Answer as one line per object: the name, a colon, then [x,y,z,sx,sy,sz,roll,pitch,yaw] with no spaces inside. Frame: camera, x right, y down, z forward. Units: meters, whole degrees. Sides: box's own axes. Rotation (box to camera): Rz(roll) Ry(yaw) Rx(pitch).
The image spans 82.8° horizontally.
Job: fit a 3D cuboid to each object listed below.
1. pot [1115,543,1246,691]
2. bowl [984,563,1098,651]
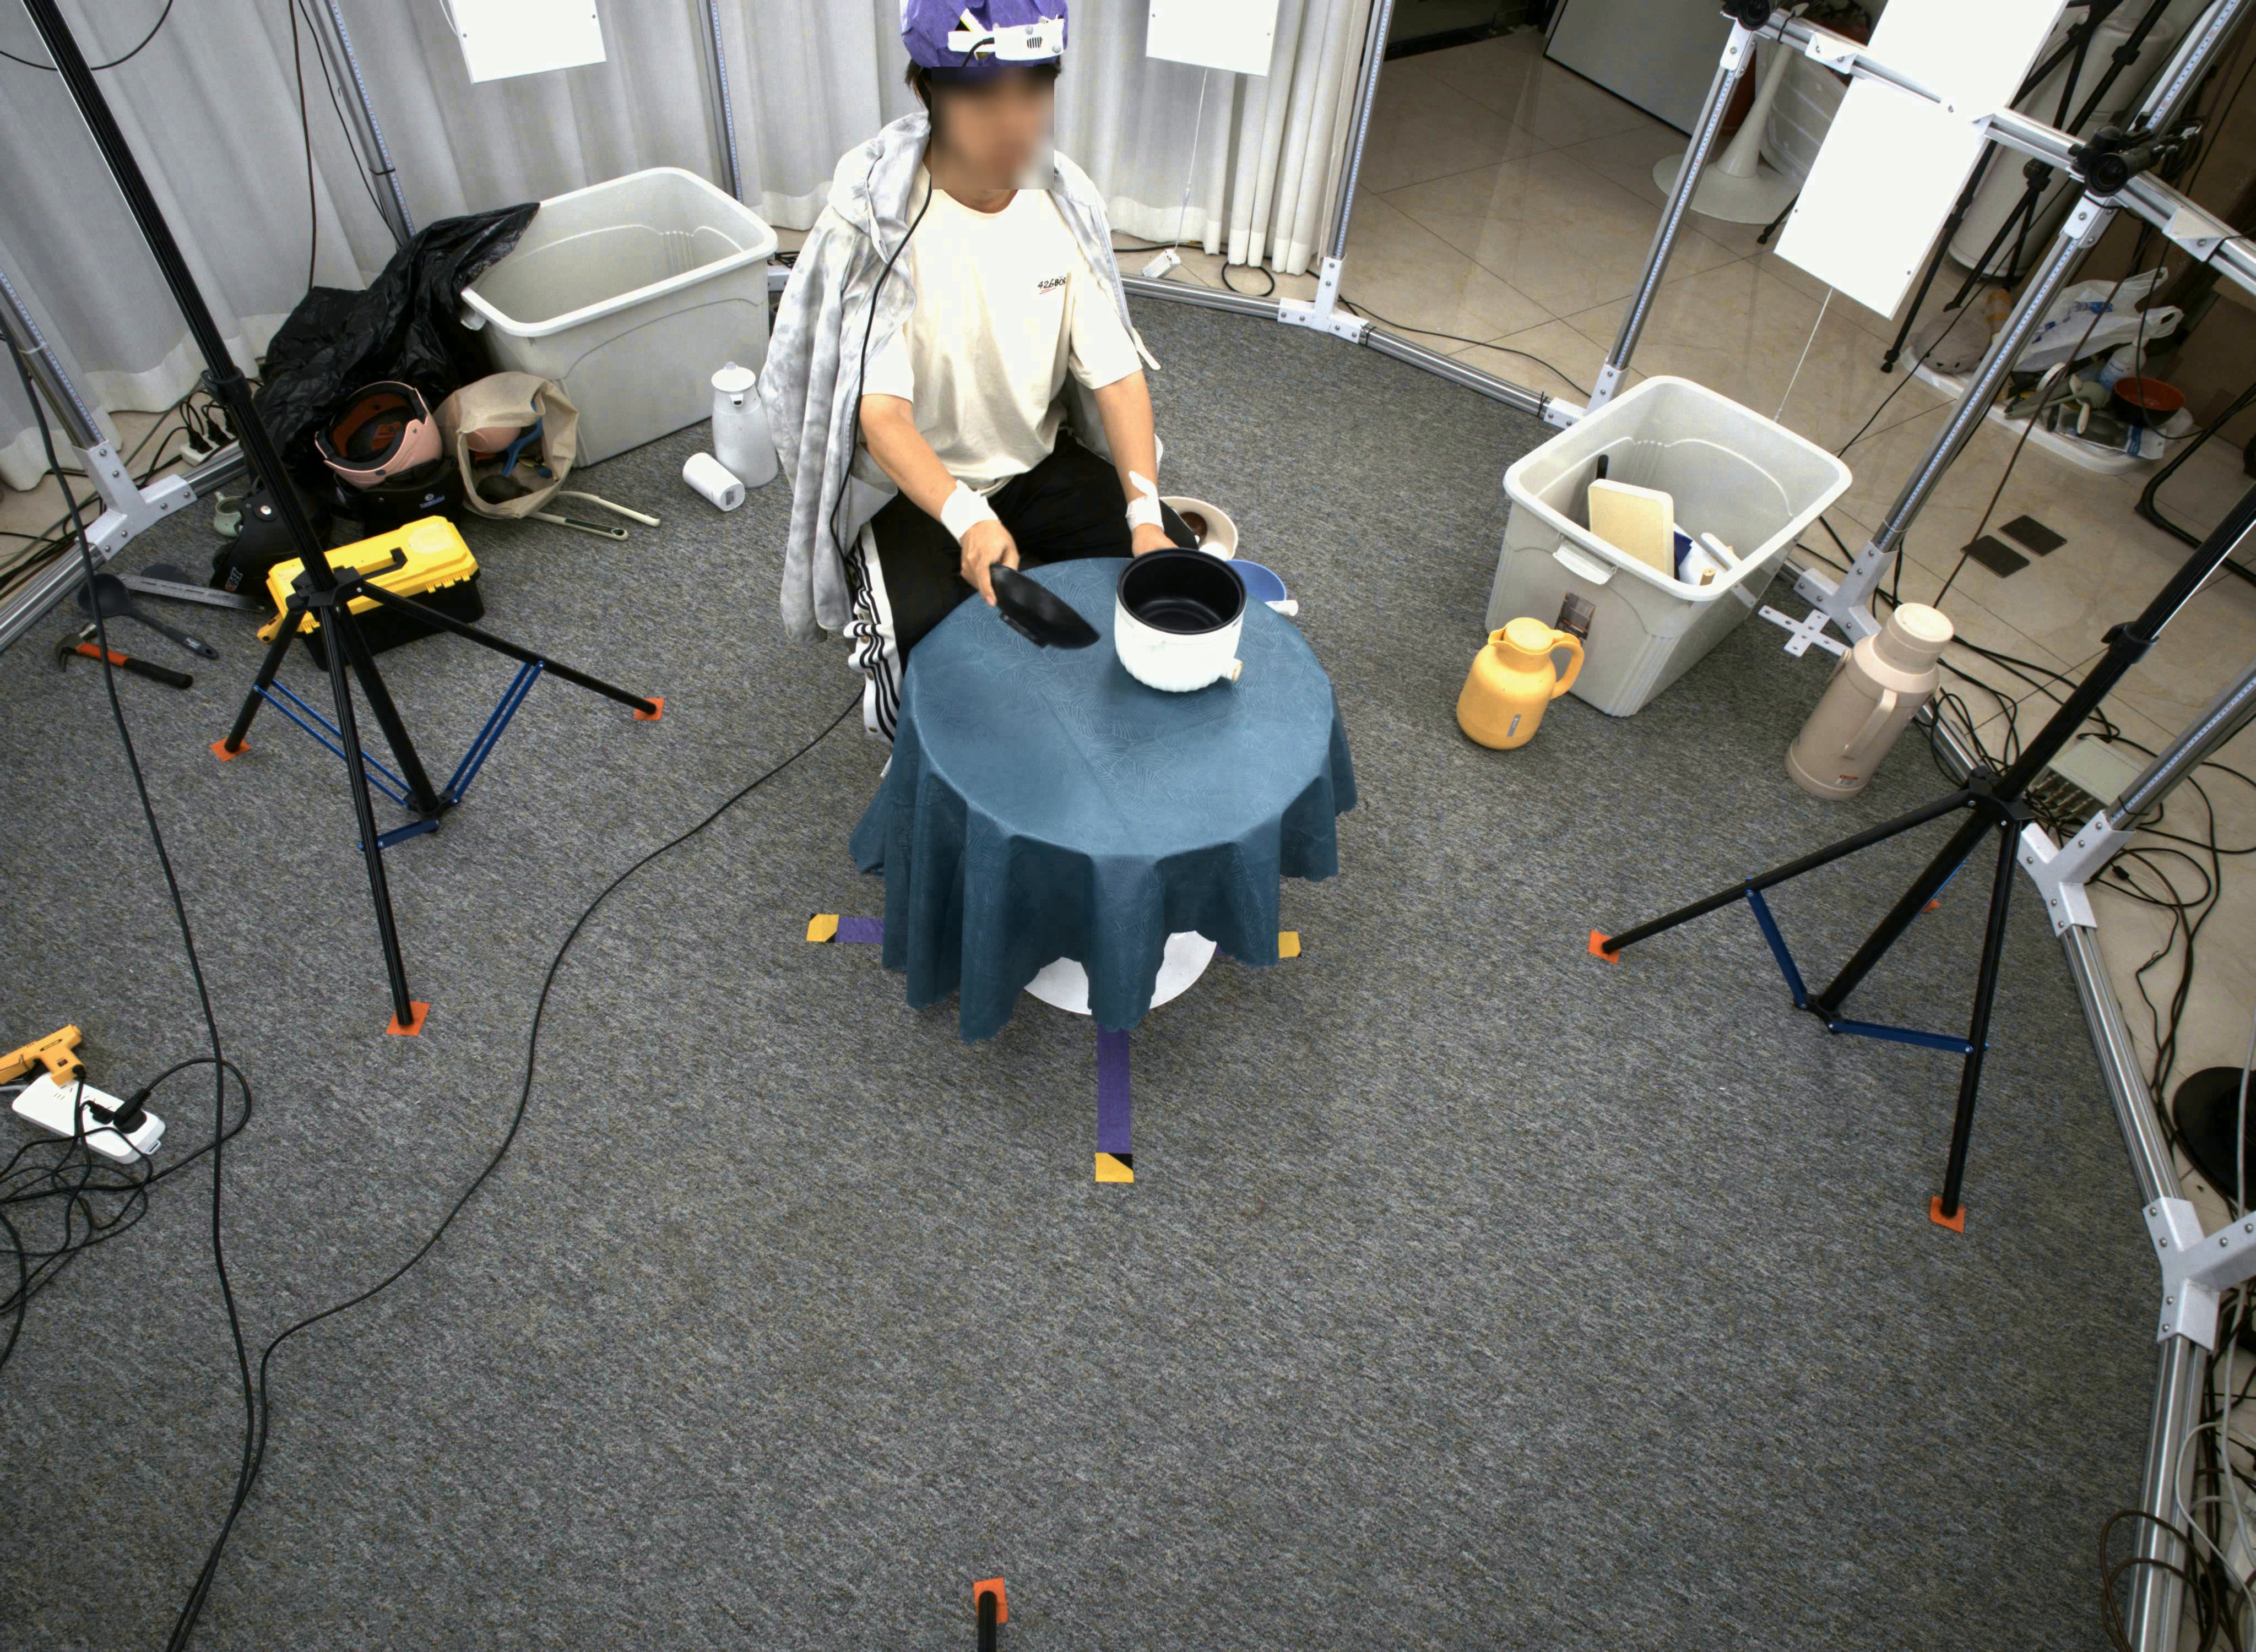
pot: [0.076,-0.286,1.825,0.192,0.139,0.244,21,51,18]
bowl: [-0.121,-0.270,1.636,0.170,0.137,0.066,36,93,3]
